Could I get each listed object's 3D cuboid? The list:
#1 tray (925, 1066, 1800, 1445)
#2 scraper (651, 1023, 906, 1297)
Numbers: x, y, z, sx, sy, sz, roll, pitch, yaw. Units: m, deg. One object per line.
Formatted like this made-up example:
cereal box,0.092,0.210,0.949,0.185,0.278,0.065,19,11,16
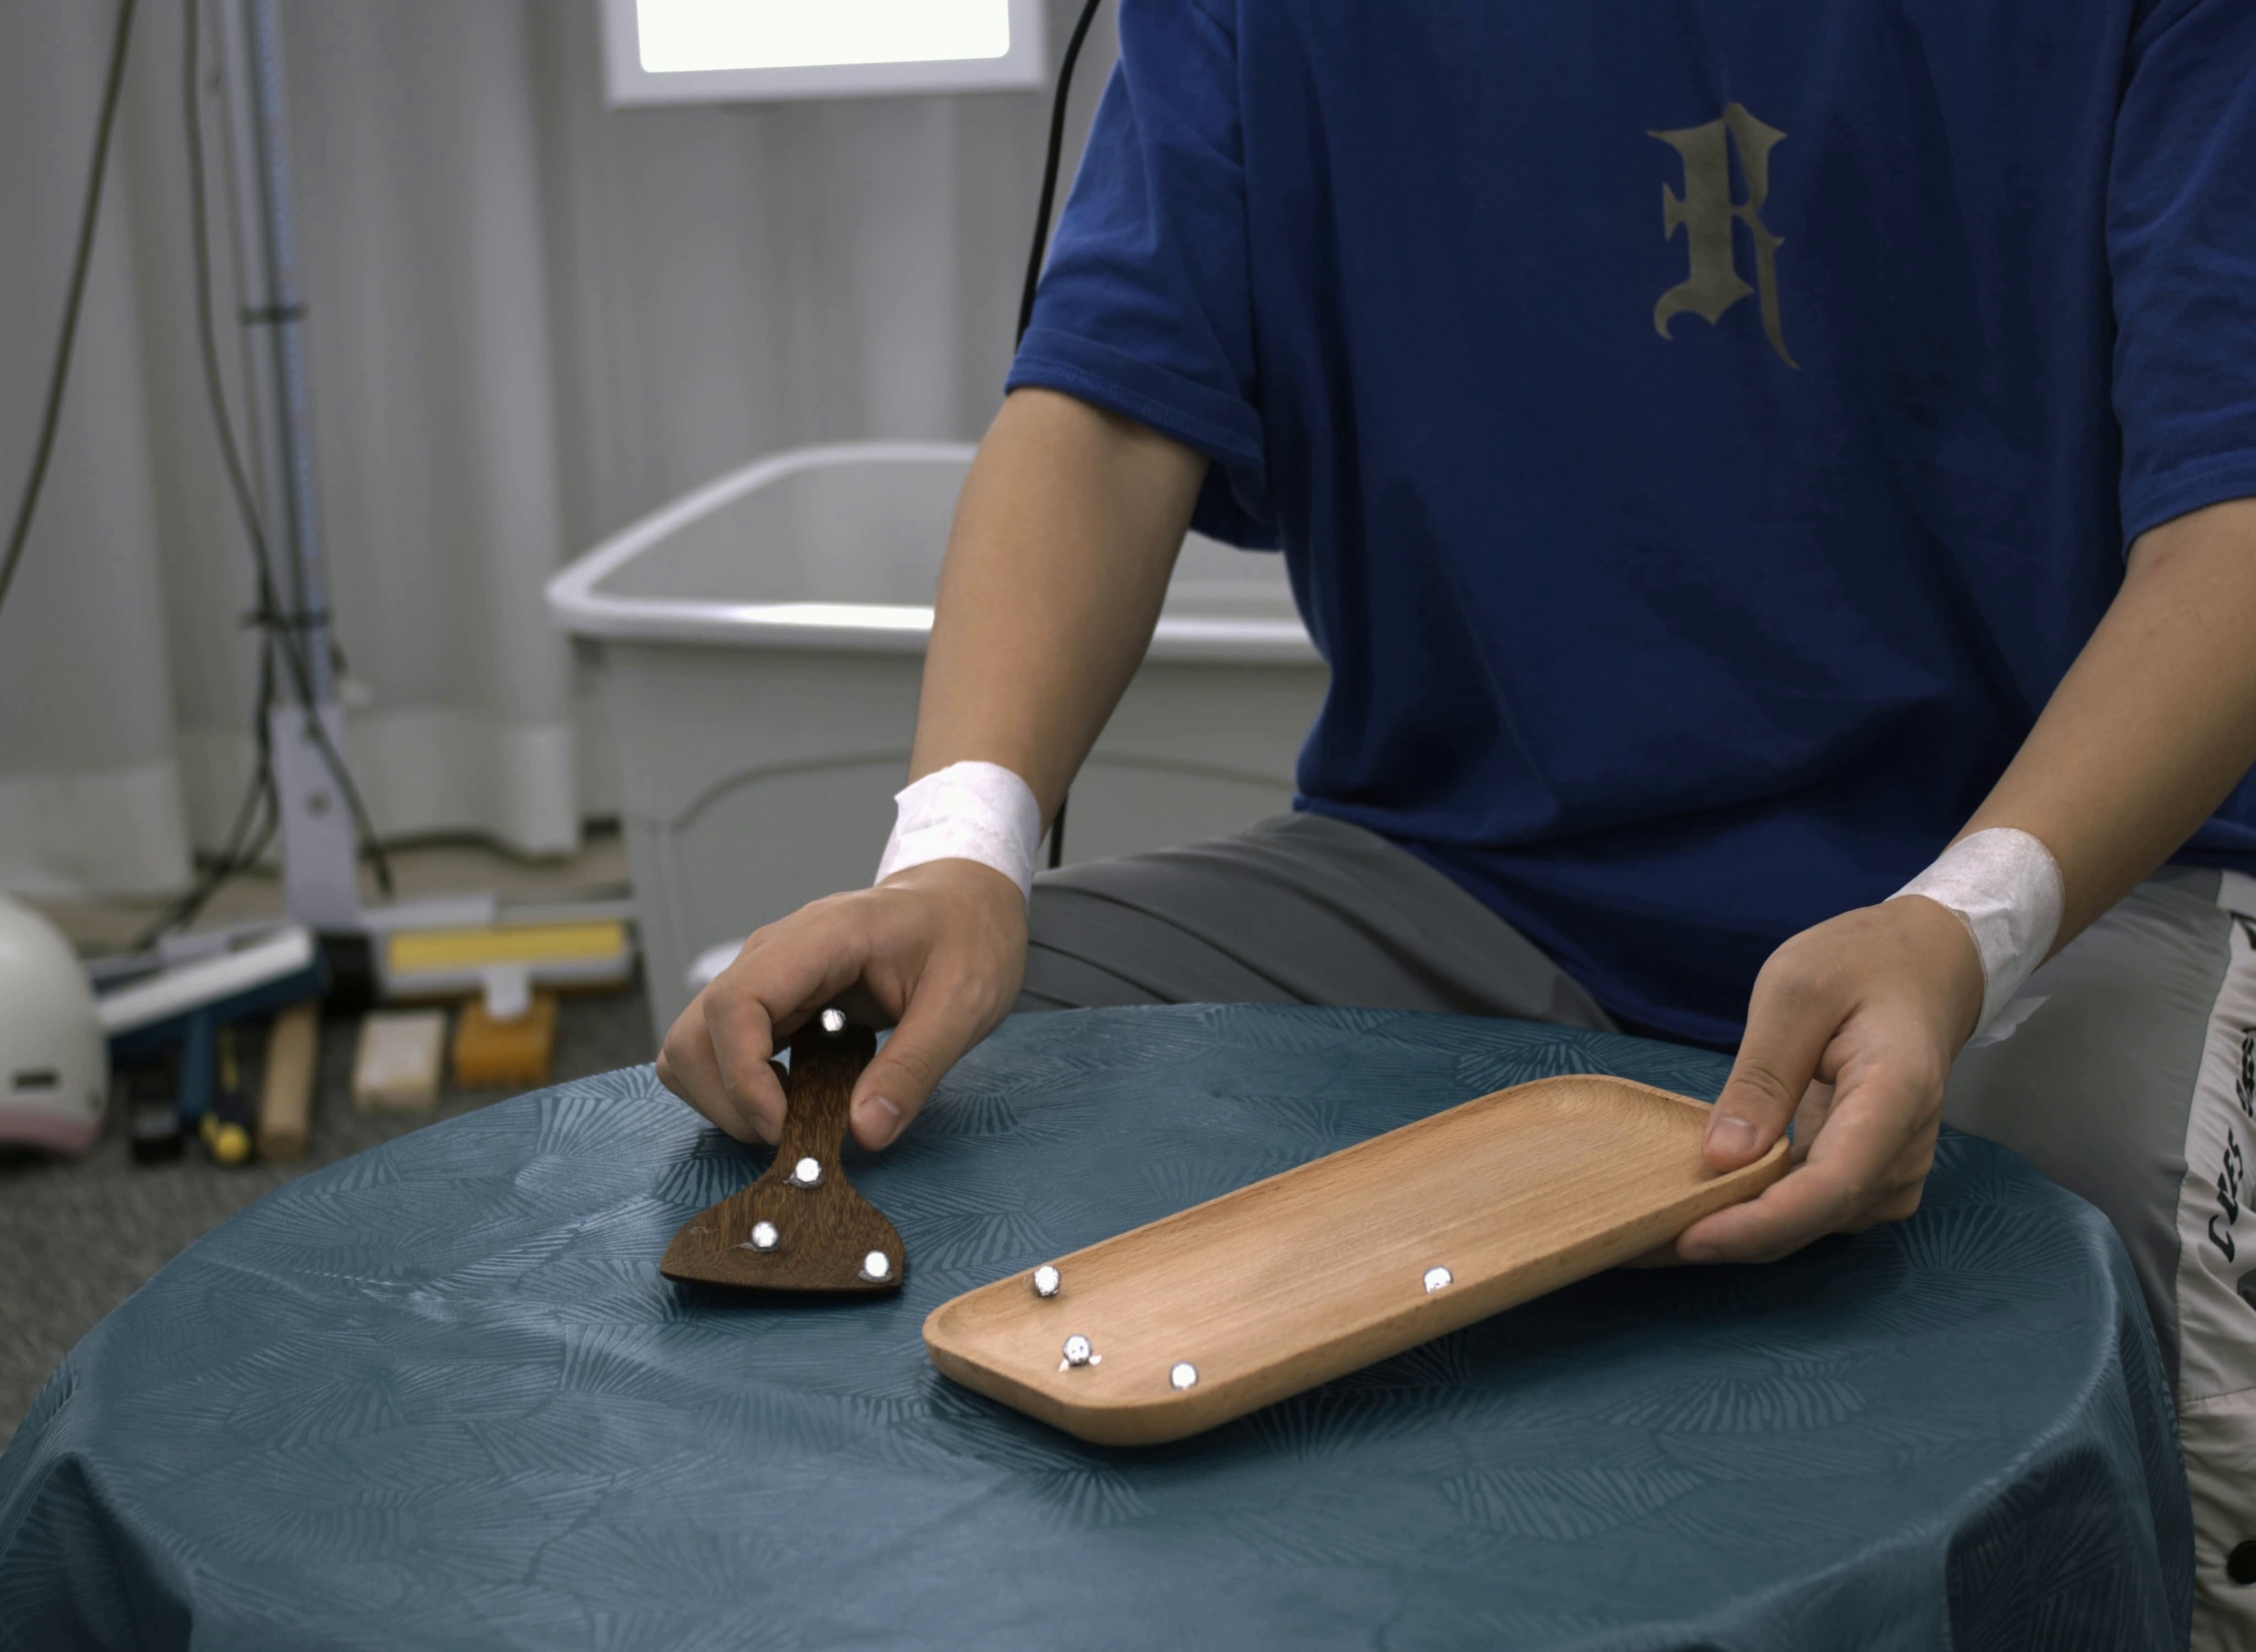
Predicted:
tray,0.069,0.122,1.579,0.250,0.023,0.131,-18,20,-28
scraper,-0.101,0.104,1.718,0.075,0.011,0.213,4,20,1
